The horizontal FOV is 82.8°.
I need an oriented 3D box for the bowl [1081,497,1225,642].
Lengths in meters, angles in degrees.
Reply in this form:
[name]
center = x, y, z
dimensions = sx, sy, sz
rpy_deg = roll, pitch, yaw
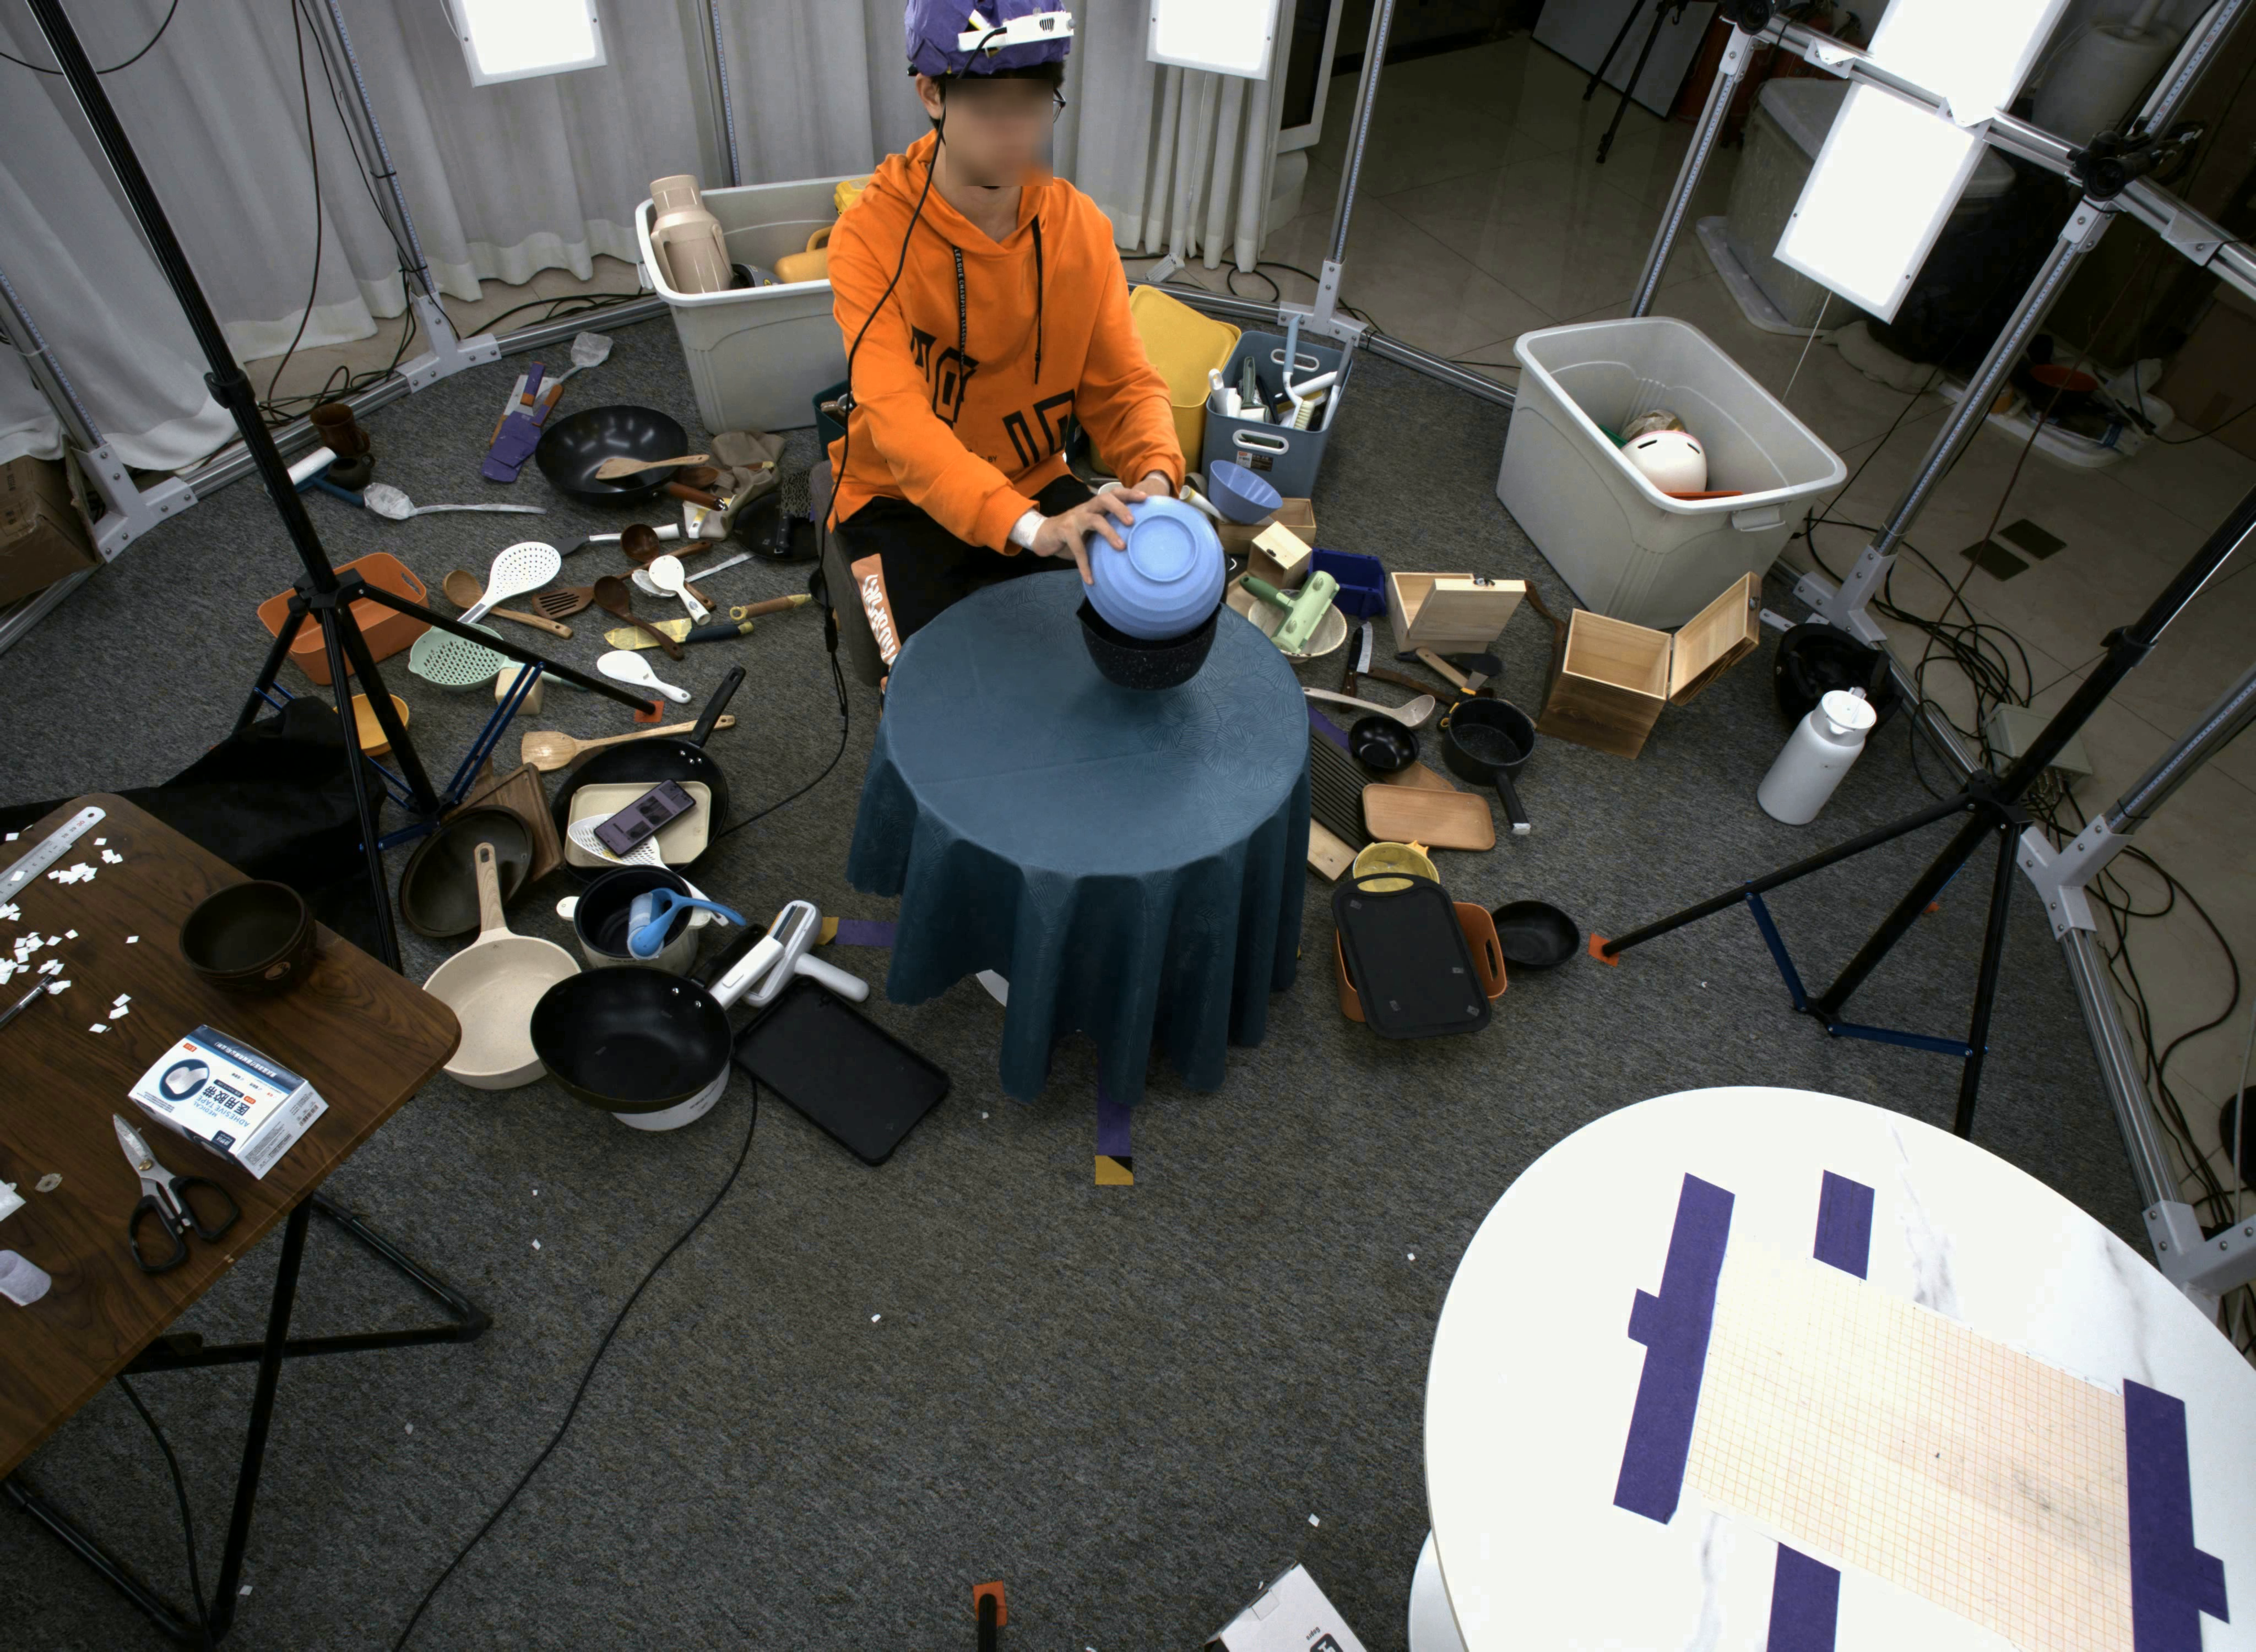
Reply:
[bowl]
center = 0.040, -0.351, 1.695
dimensions = 0.196, 0.095, 0.198
rpy_deg = 1, 80, -7

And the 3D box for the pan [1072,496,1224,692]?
[pan]
center = 0.020, -0.330, 1.820
dimensions = 0.207, 0.105, 0.351
rpy_deg = -5, 46, -3
